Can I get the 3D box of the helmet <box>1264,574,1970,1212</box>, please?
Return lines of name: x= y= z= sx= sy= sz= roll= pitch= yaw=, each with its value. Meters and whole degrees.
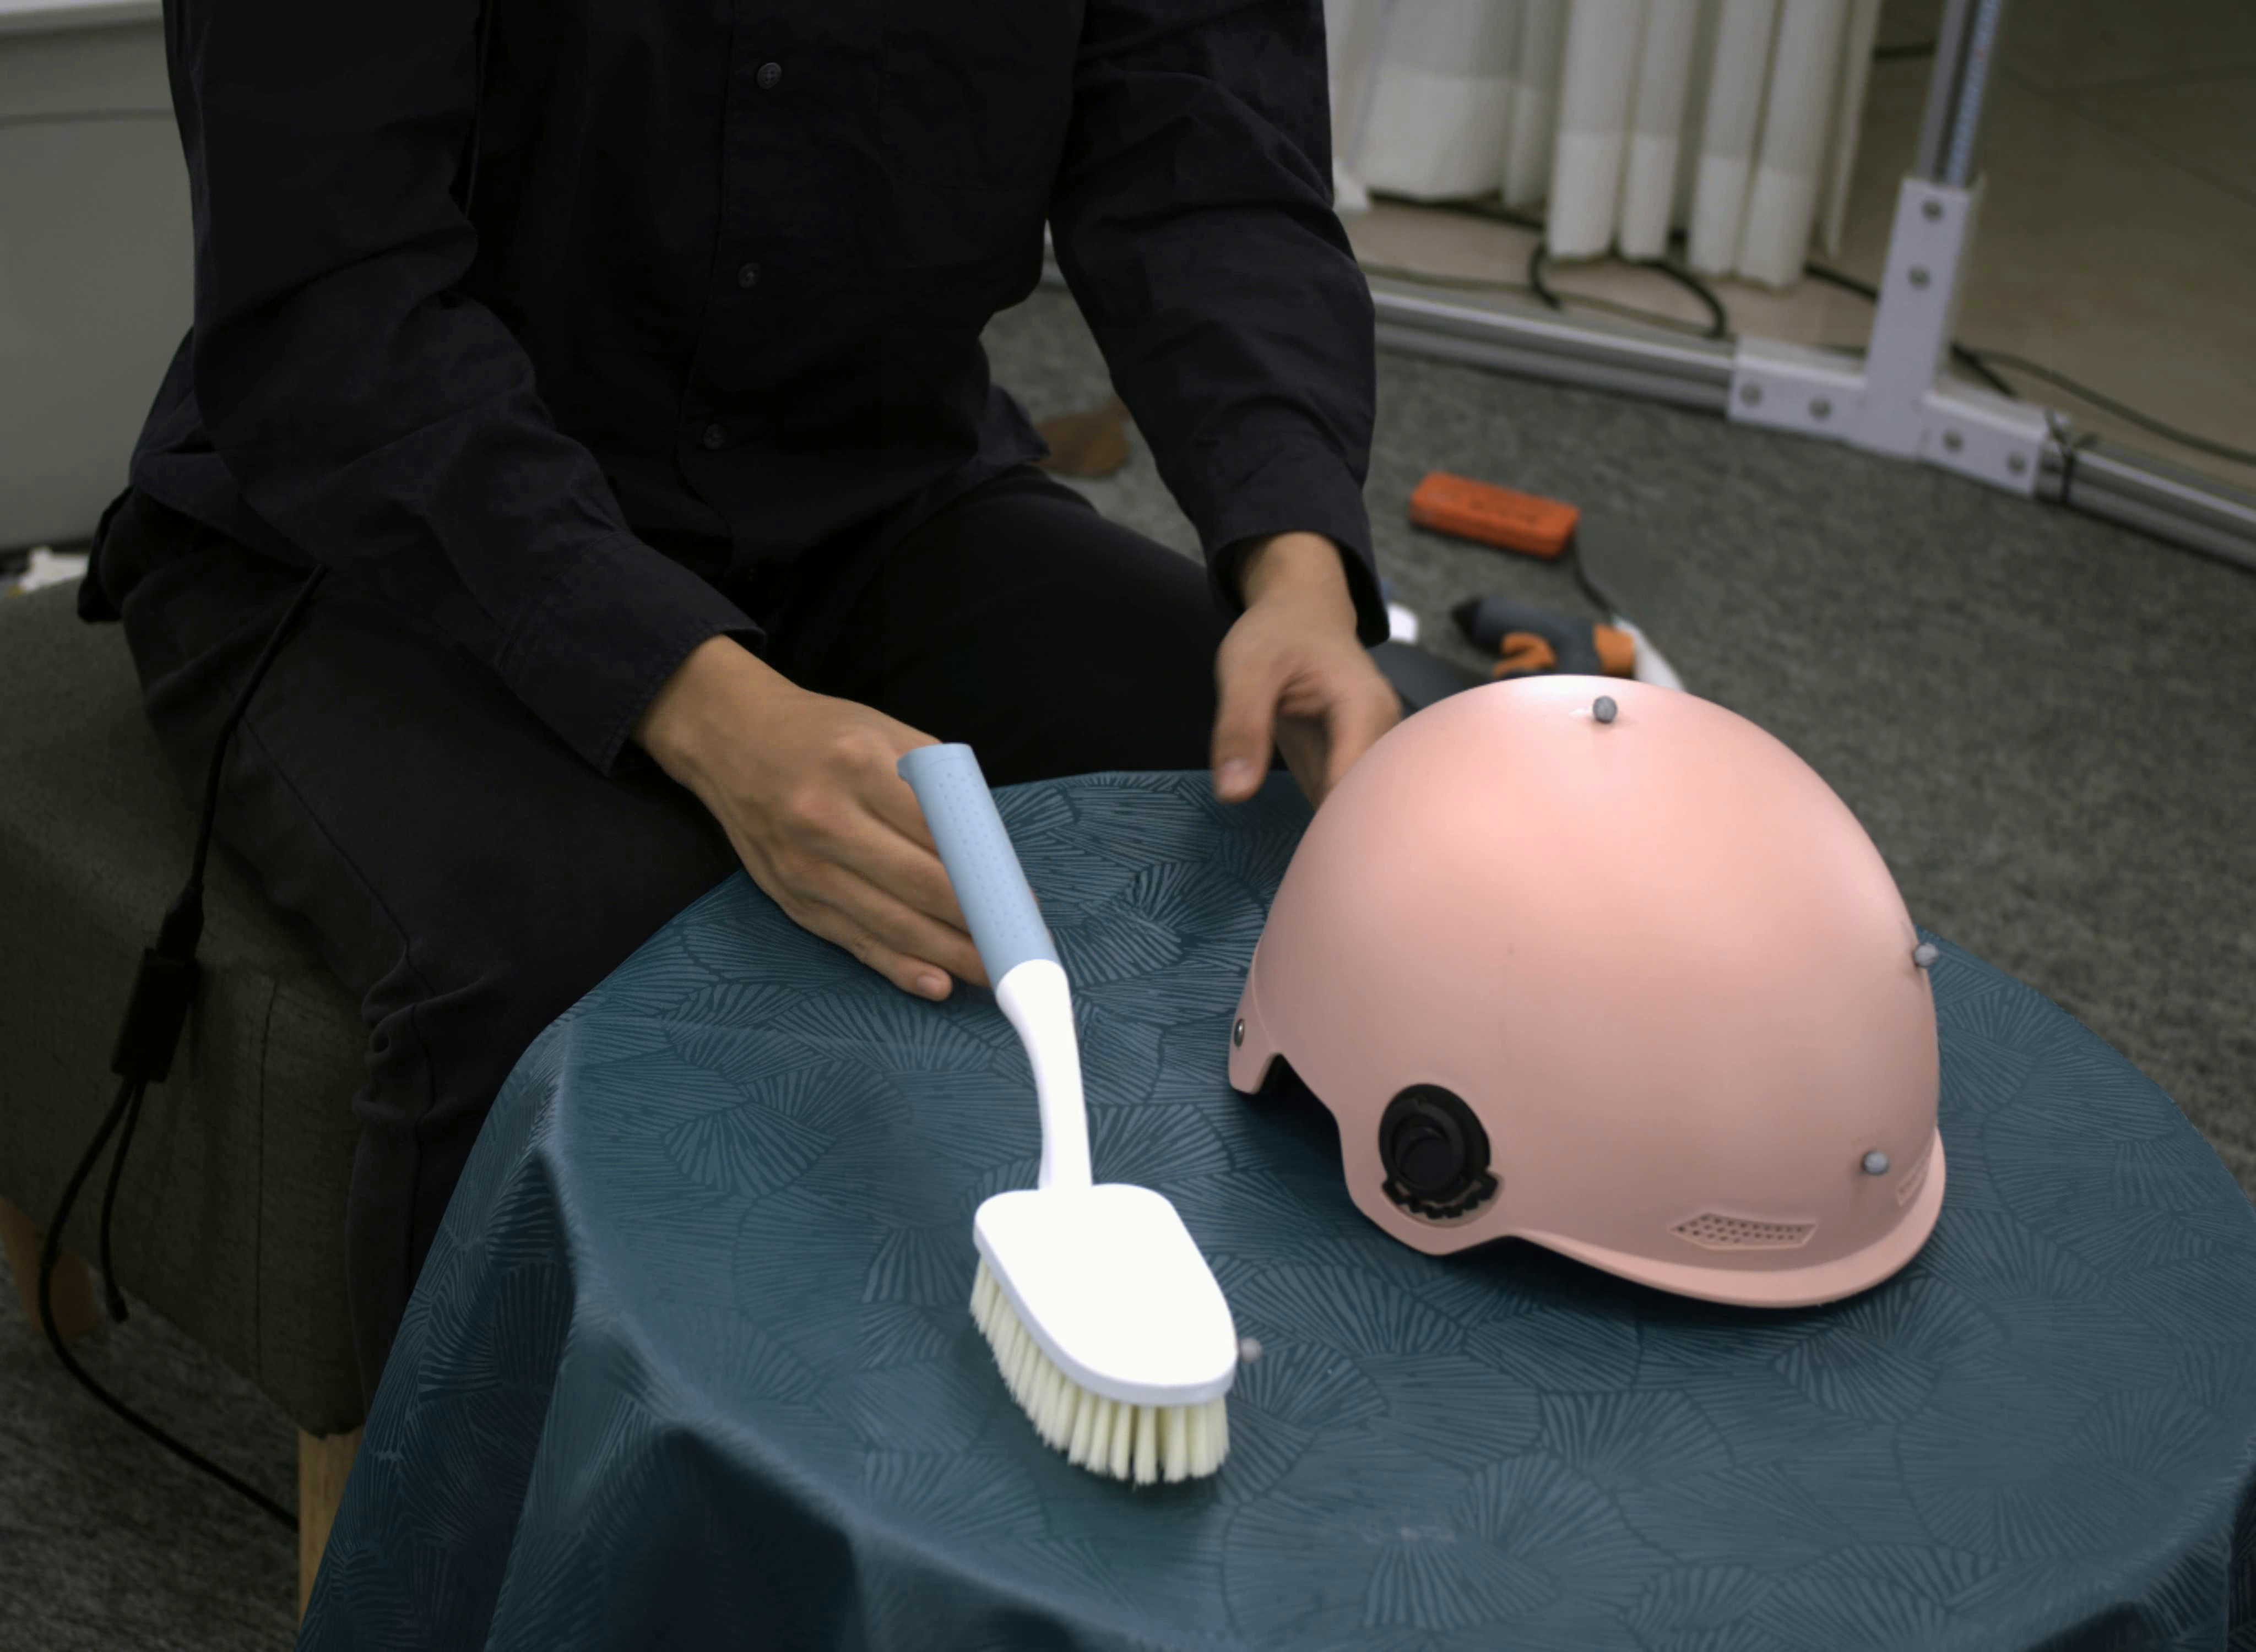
helmet: x=0.184 y=0.006 z=1.855 sx=0.233 sy=0.158 sz=0.268 roll=-16 pitch=39 yaw=-39

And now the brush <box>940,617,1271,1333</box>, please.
brush: x=-0.014 y=0.057 z=1.782 sx=0.082 sy=0.084 sz=0.328 roll=32 pitch=23 yaw=-38
